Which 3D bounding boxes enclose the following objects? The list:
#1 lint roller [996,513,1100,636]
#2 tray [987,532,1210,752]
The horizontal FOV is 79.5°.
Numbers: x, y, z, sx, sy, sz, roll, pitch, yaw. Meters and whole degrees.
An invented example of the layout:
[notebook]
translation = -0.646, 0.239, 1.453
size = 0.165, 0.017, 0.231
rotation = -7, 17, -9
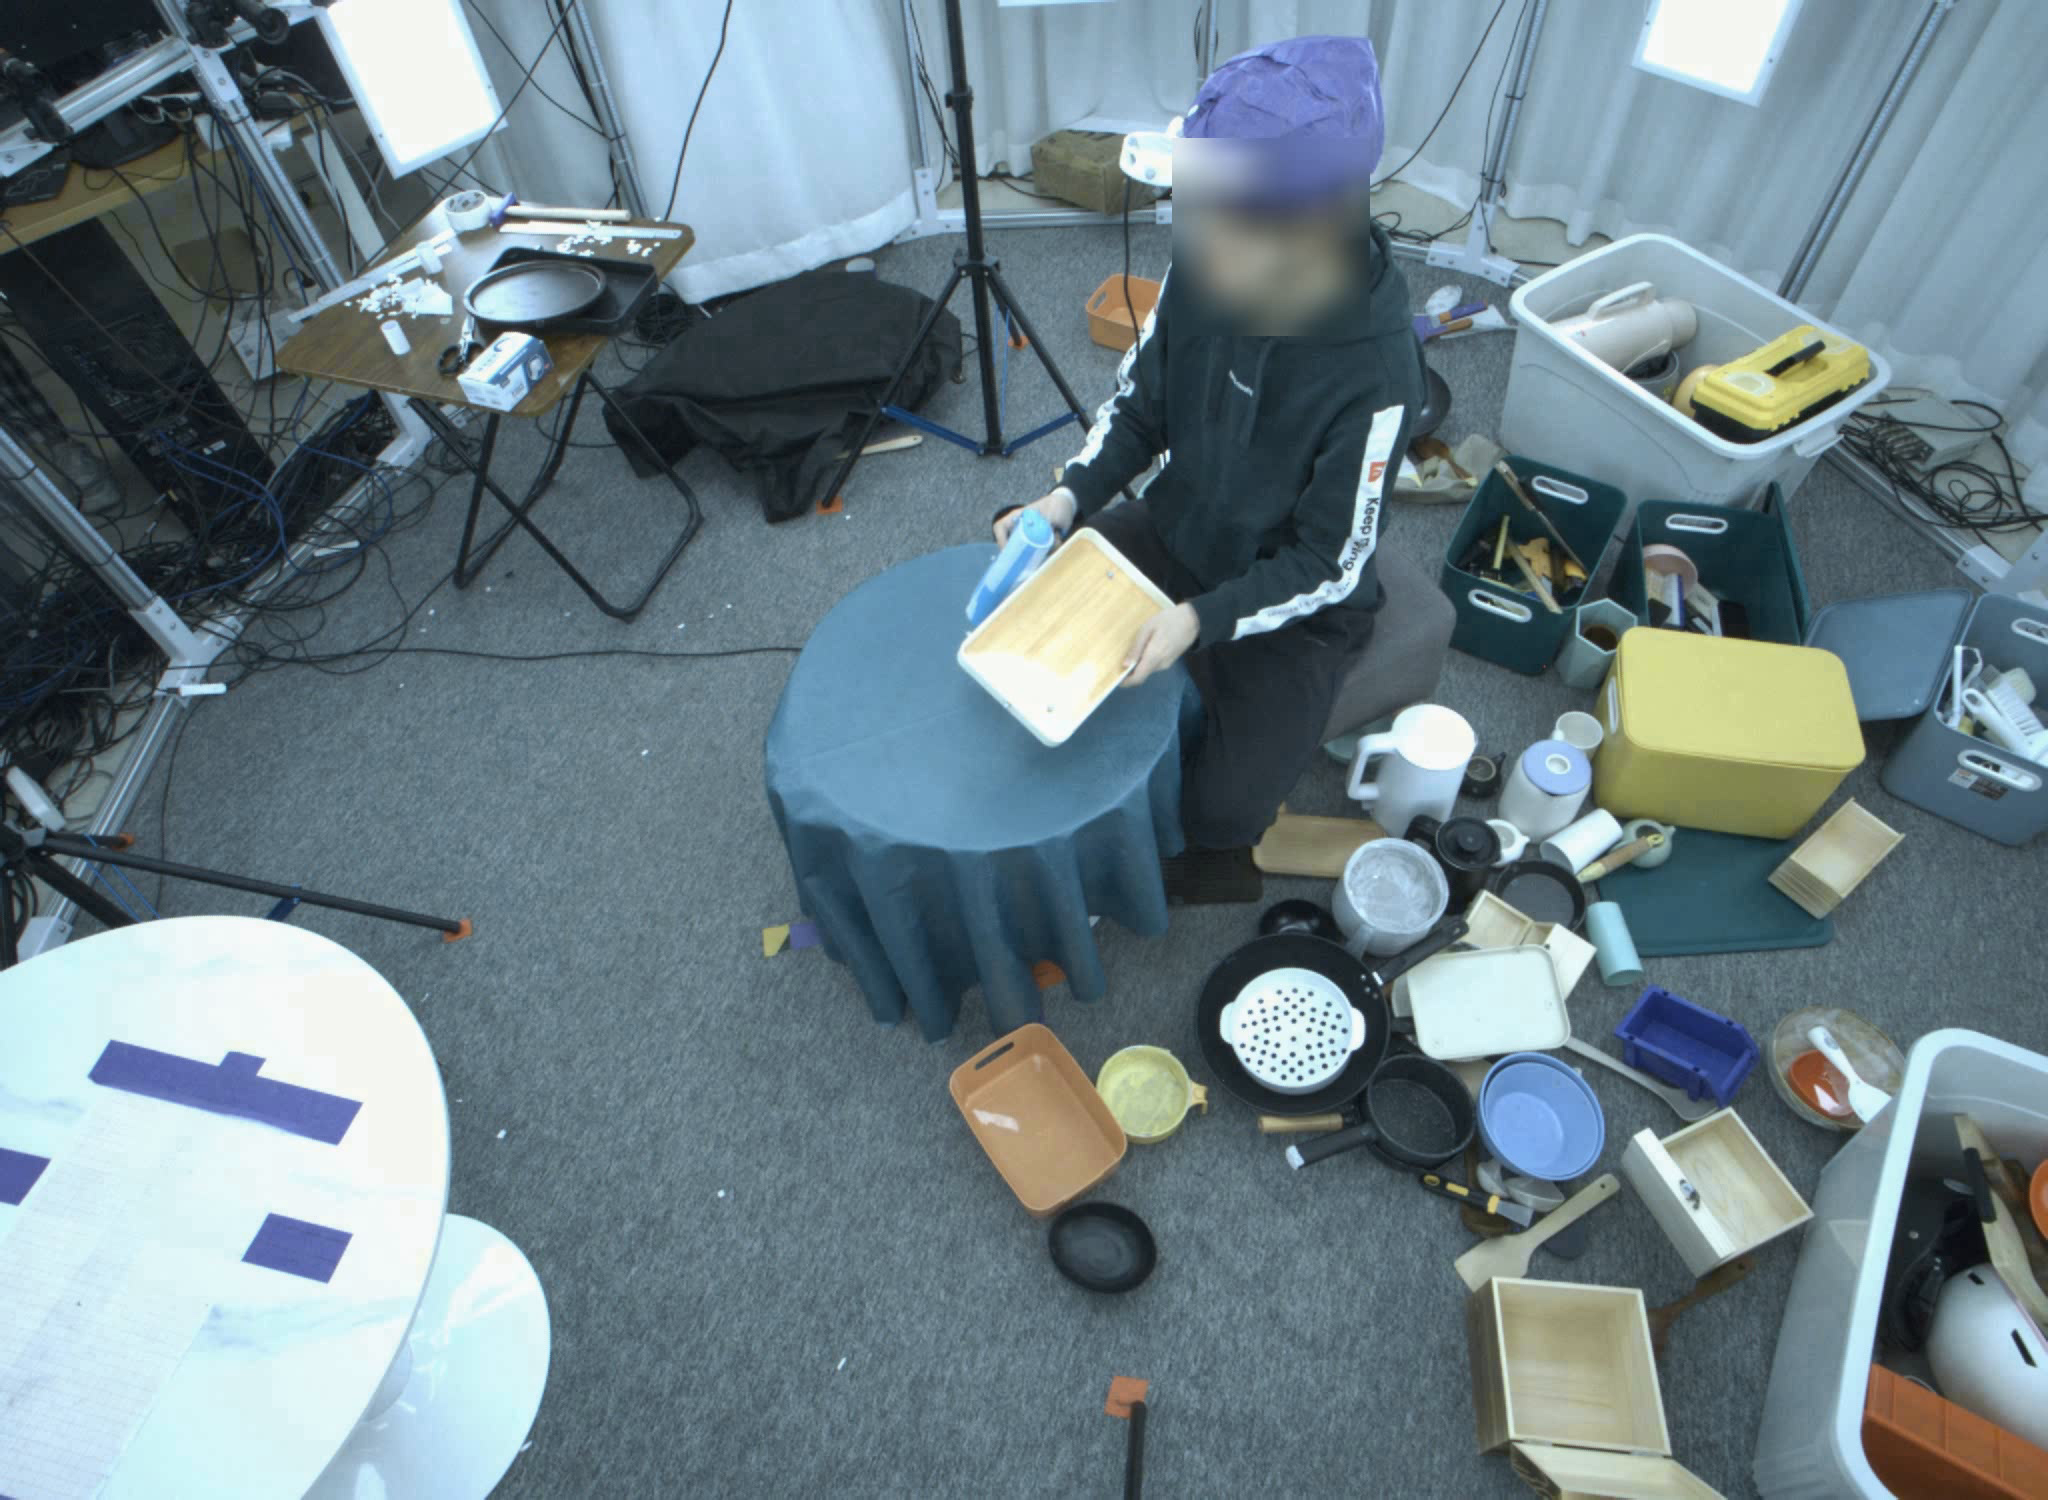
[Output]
[lint roller]
translation = 0.046, -0.273, 1.763
size = 0.068, 0.228, 0.181
rotation = 35, 46, 0
[tray]
translation = 0.108, -0.154, 1.705
size = 0.192, 0.027, 0.302
rotation = 46, 64, -2
